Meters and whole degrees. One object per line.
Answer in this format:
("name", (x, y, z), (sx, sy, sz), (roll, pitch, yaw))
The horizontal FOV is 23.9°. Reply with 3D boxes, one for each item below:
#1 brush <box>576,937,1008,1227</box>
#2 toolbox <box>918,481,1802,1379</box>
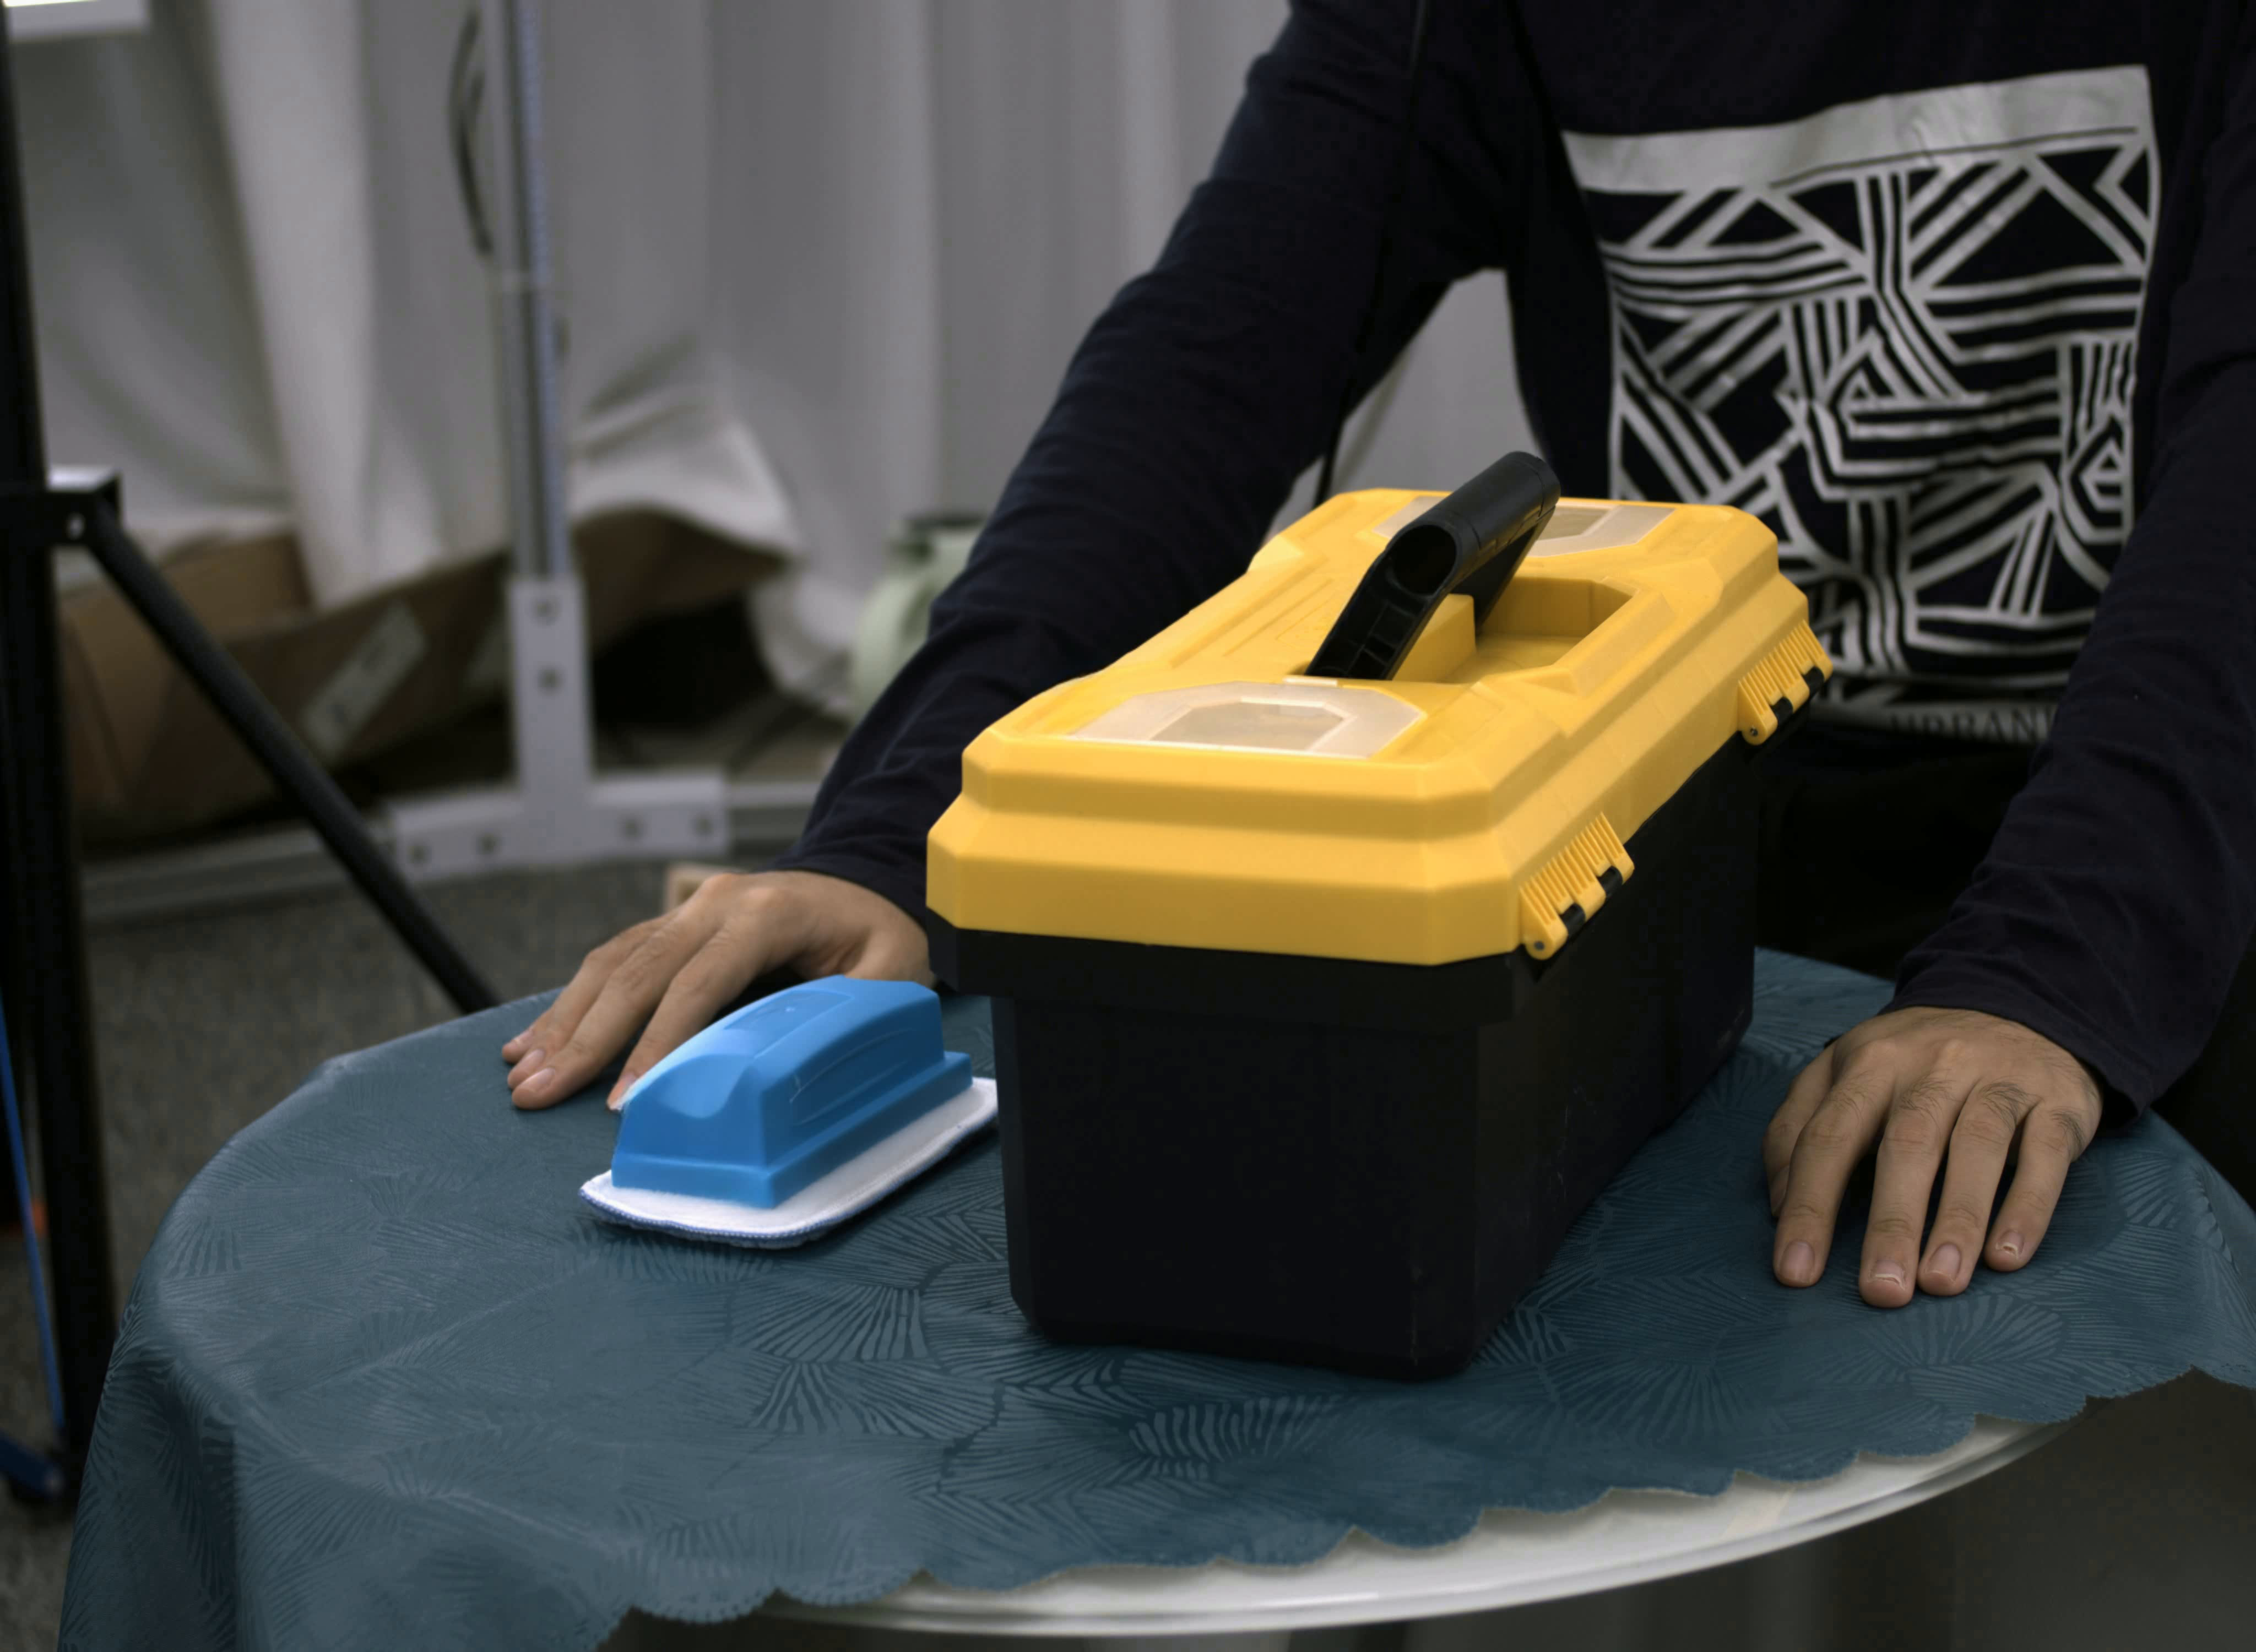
("brush", (-0.097, 0.072, 1.590), (0.085, 0.056, 0.141), (10, 22, 29))
("toolbox", (0.077, 0.020, 1.539), (0.183, 0.173, 0.347), (4, 17, 21))
